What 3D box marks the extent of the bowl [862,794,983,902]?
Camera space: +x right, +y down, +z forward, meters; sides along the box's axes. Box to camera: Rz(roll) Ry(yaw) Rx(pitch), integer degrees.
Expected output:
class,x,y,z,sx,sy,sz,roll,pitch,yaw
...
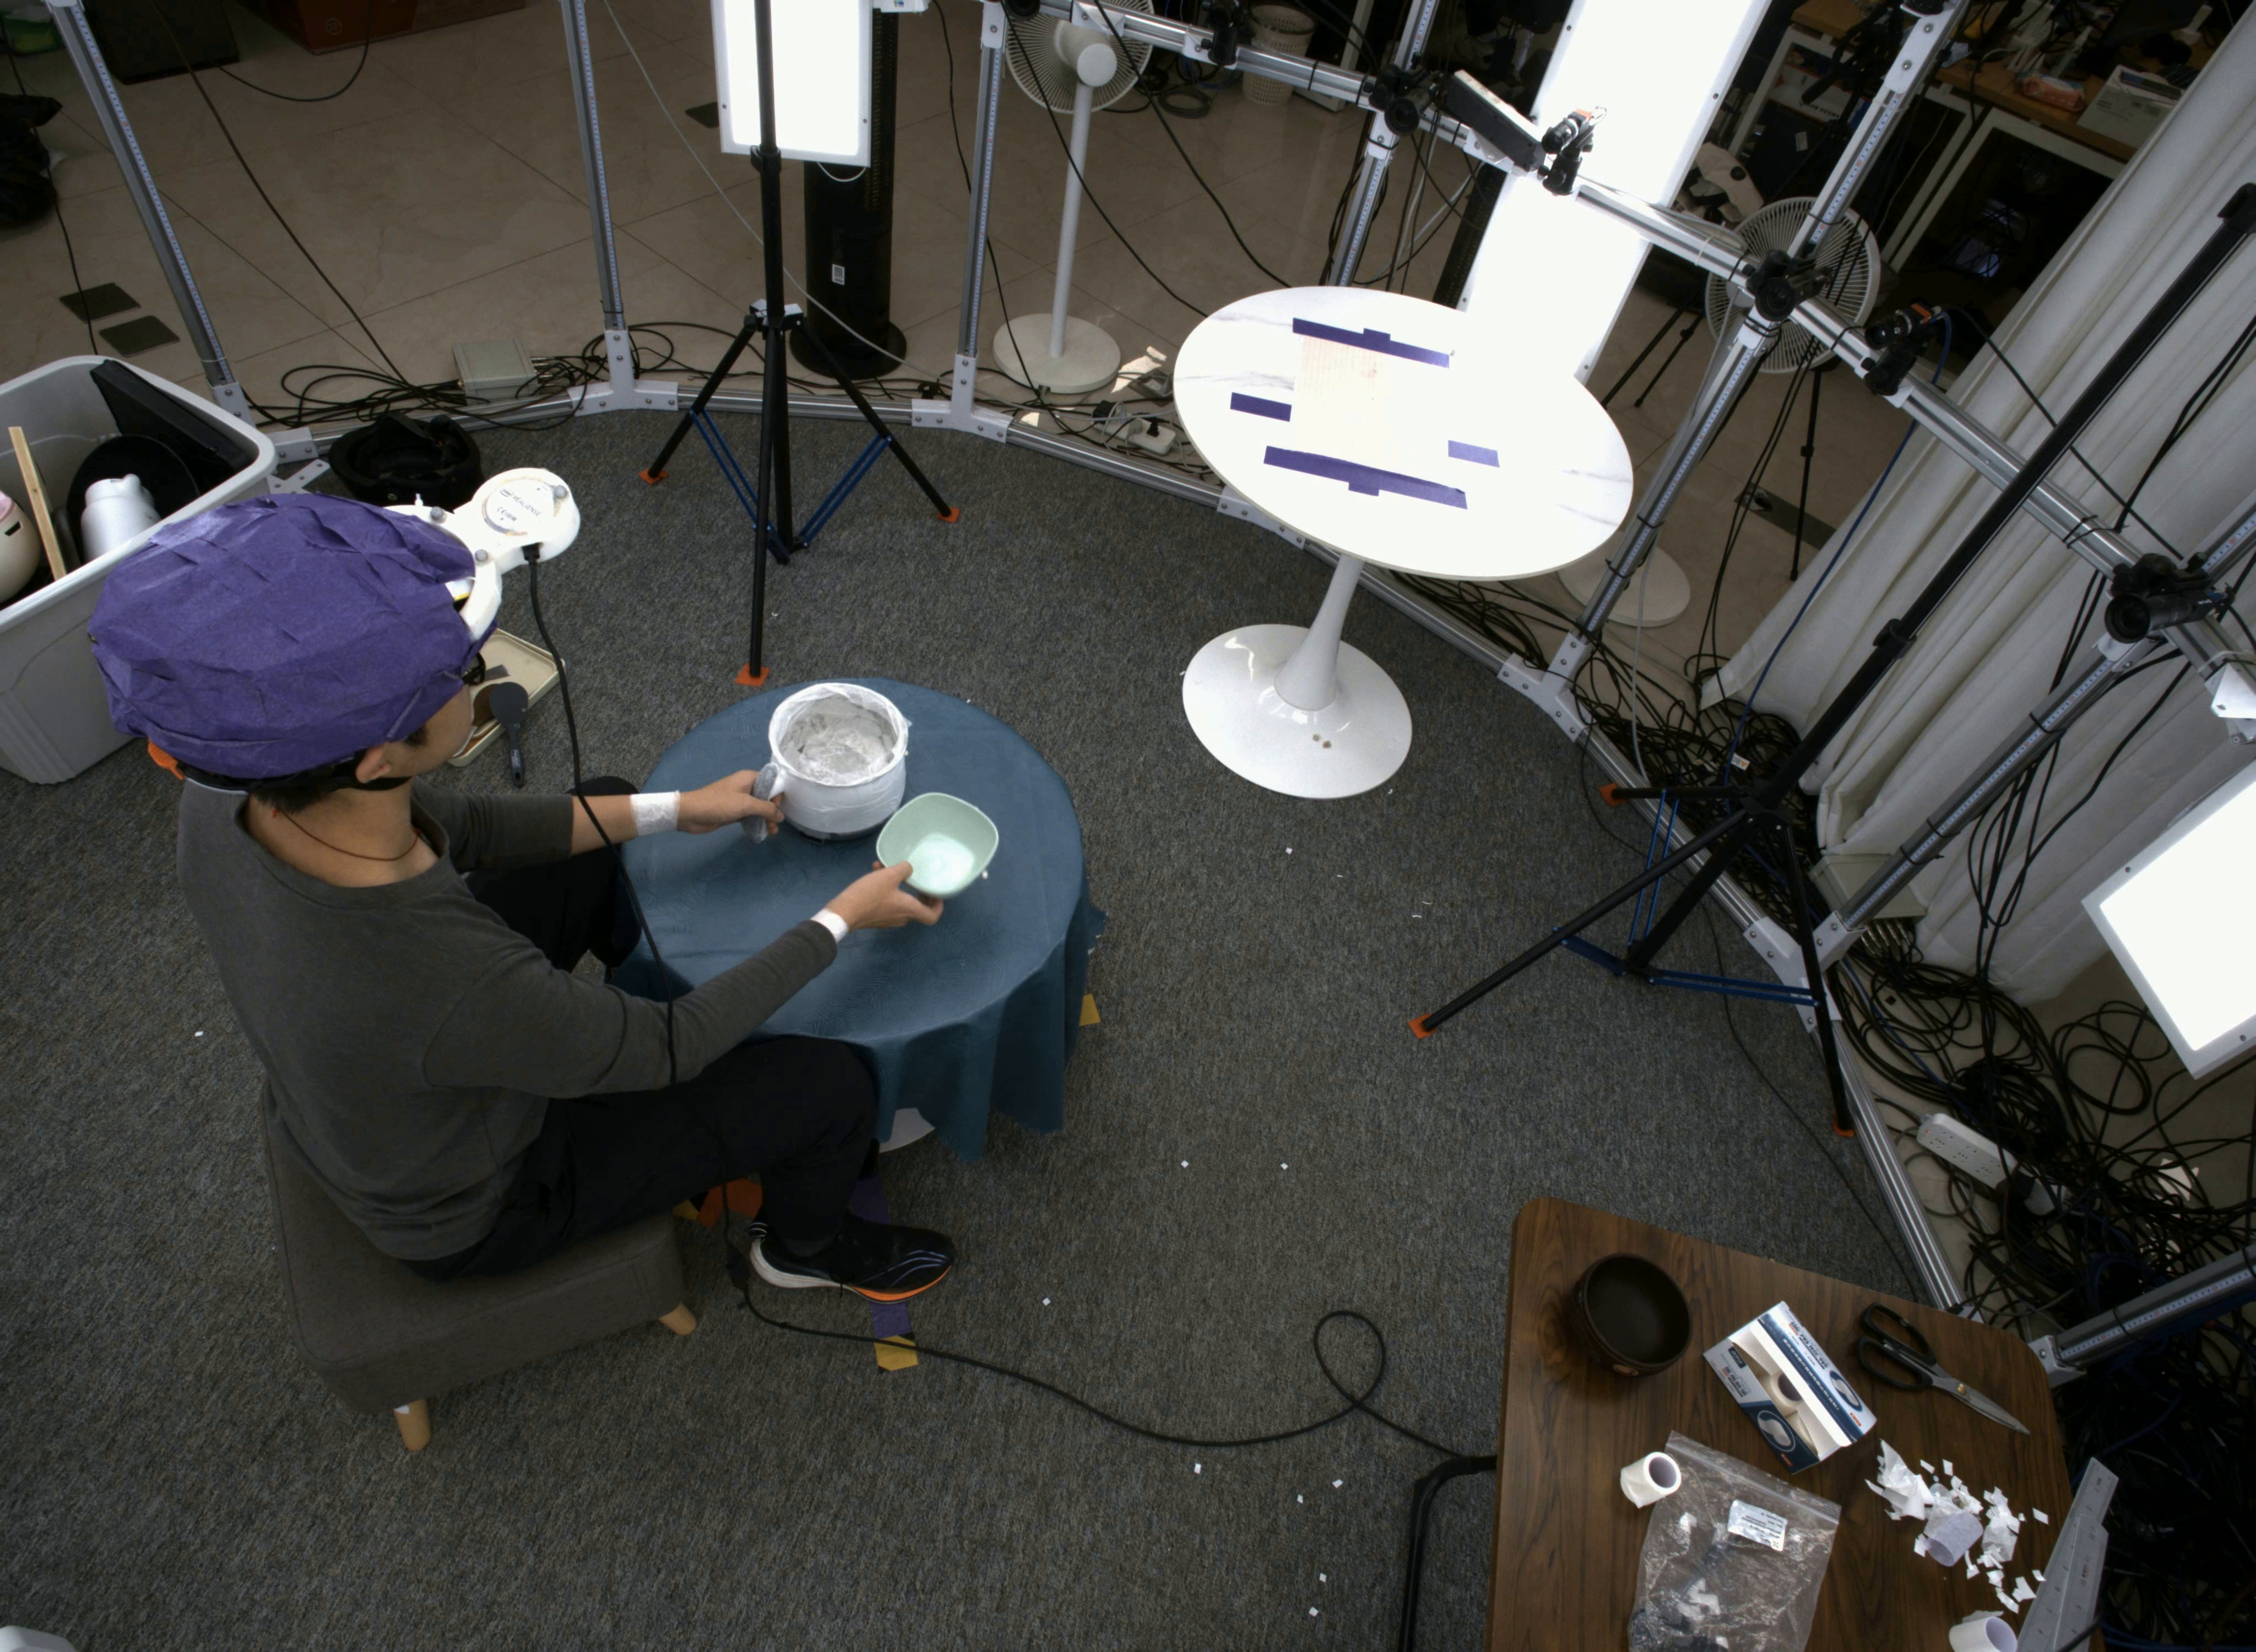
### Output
class,x,y,z,sx,sy,sz,roll,pitch,yaw
bowl,-0.258,0.037,1.638,0.151,0.060,0.149,5,56,-6

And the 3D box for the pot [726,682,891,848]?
class,x,y,z,sx,sy,sz,roll,pitch,yaw
pot,-0.422,-0.066,1.697,0.175,0.139,0.234,42,55,18
